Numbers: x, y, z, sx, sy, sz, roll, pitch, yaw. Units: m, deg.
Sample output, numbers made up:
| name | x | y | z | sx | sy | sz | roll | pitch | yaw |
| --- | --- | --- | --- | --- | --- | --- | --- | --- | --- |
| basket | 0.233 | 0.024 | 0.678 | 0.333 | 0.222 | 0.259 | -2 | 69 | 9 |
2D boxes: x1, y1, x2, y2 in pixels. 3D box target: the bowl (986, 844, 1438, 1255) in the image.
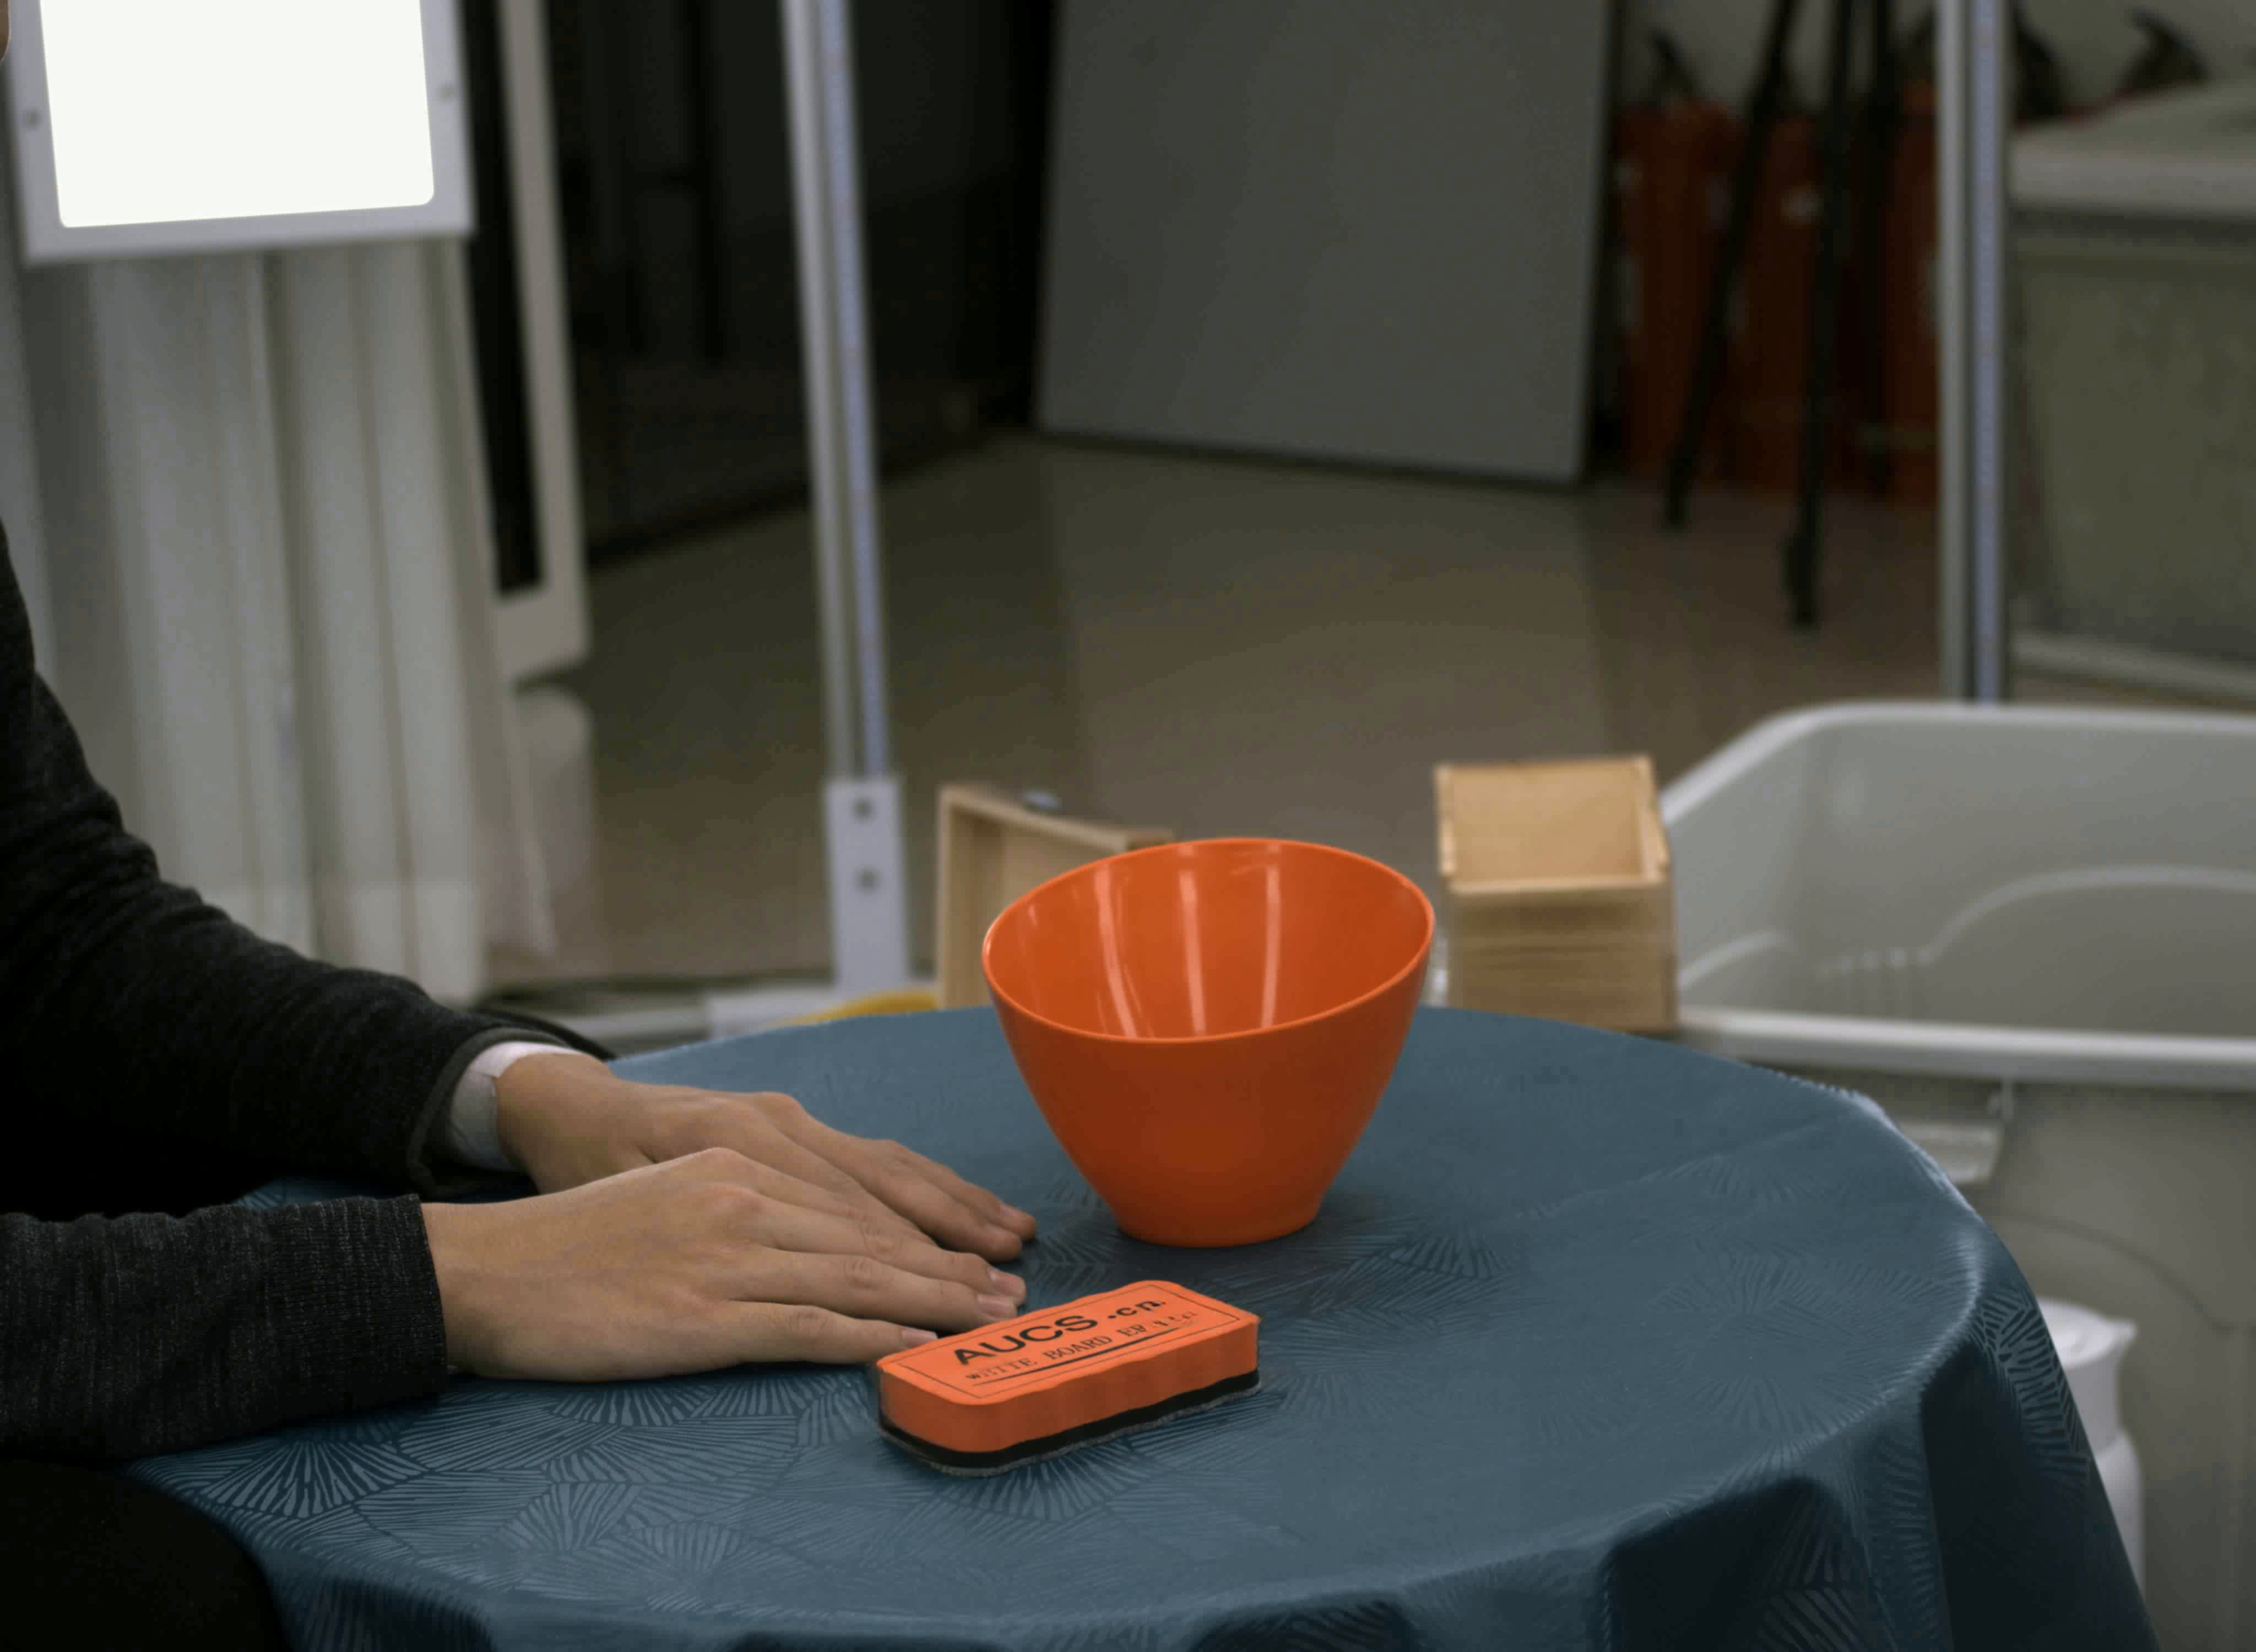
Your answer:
| name | x | y | z | sx | sy | sz | roll | pitch | yaw |
| --- | --- | --- | --- | --- | --- | --- | --- | --- | --- |
| bowl | 0.029 | 0.075 | 1.736 | 0.146 | 0.106 | 0.148 | -4 | 14 | 0 |

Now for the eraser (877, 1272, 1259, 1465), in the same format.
| name | x | y | z | sx | sy | sz | roll | pitch | yaw |
| --- | --- | --- | --- | --- | --- | --- | --- | --- | --- |
| eraser | -0.017 | 0.157 | 1.567 | 0.105 | 0.023 | 0.059 | -12 | 17 | -34 |
